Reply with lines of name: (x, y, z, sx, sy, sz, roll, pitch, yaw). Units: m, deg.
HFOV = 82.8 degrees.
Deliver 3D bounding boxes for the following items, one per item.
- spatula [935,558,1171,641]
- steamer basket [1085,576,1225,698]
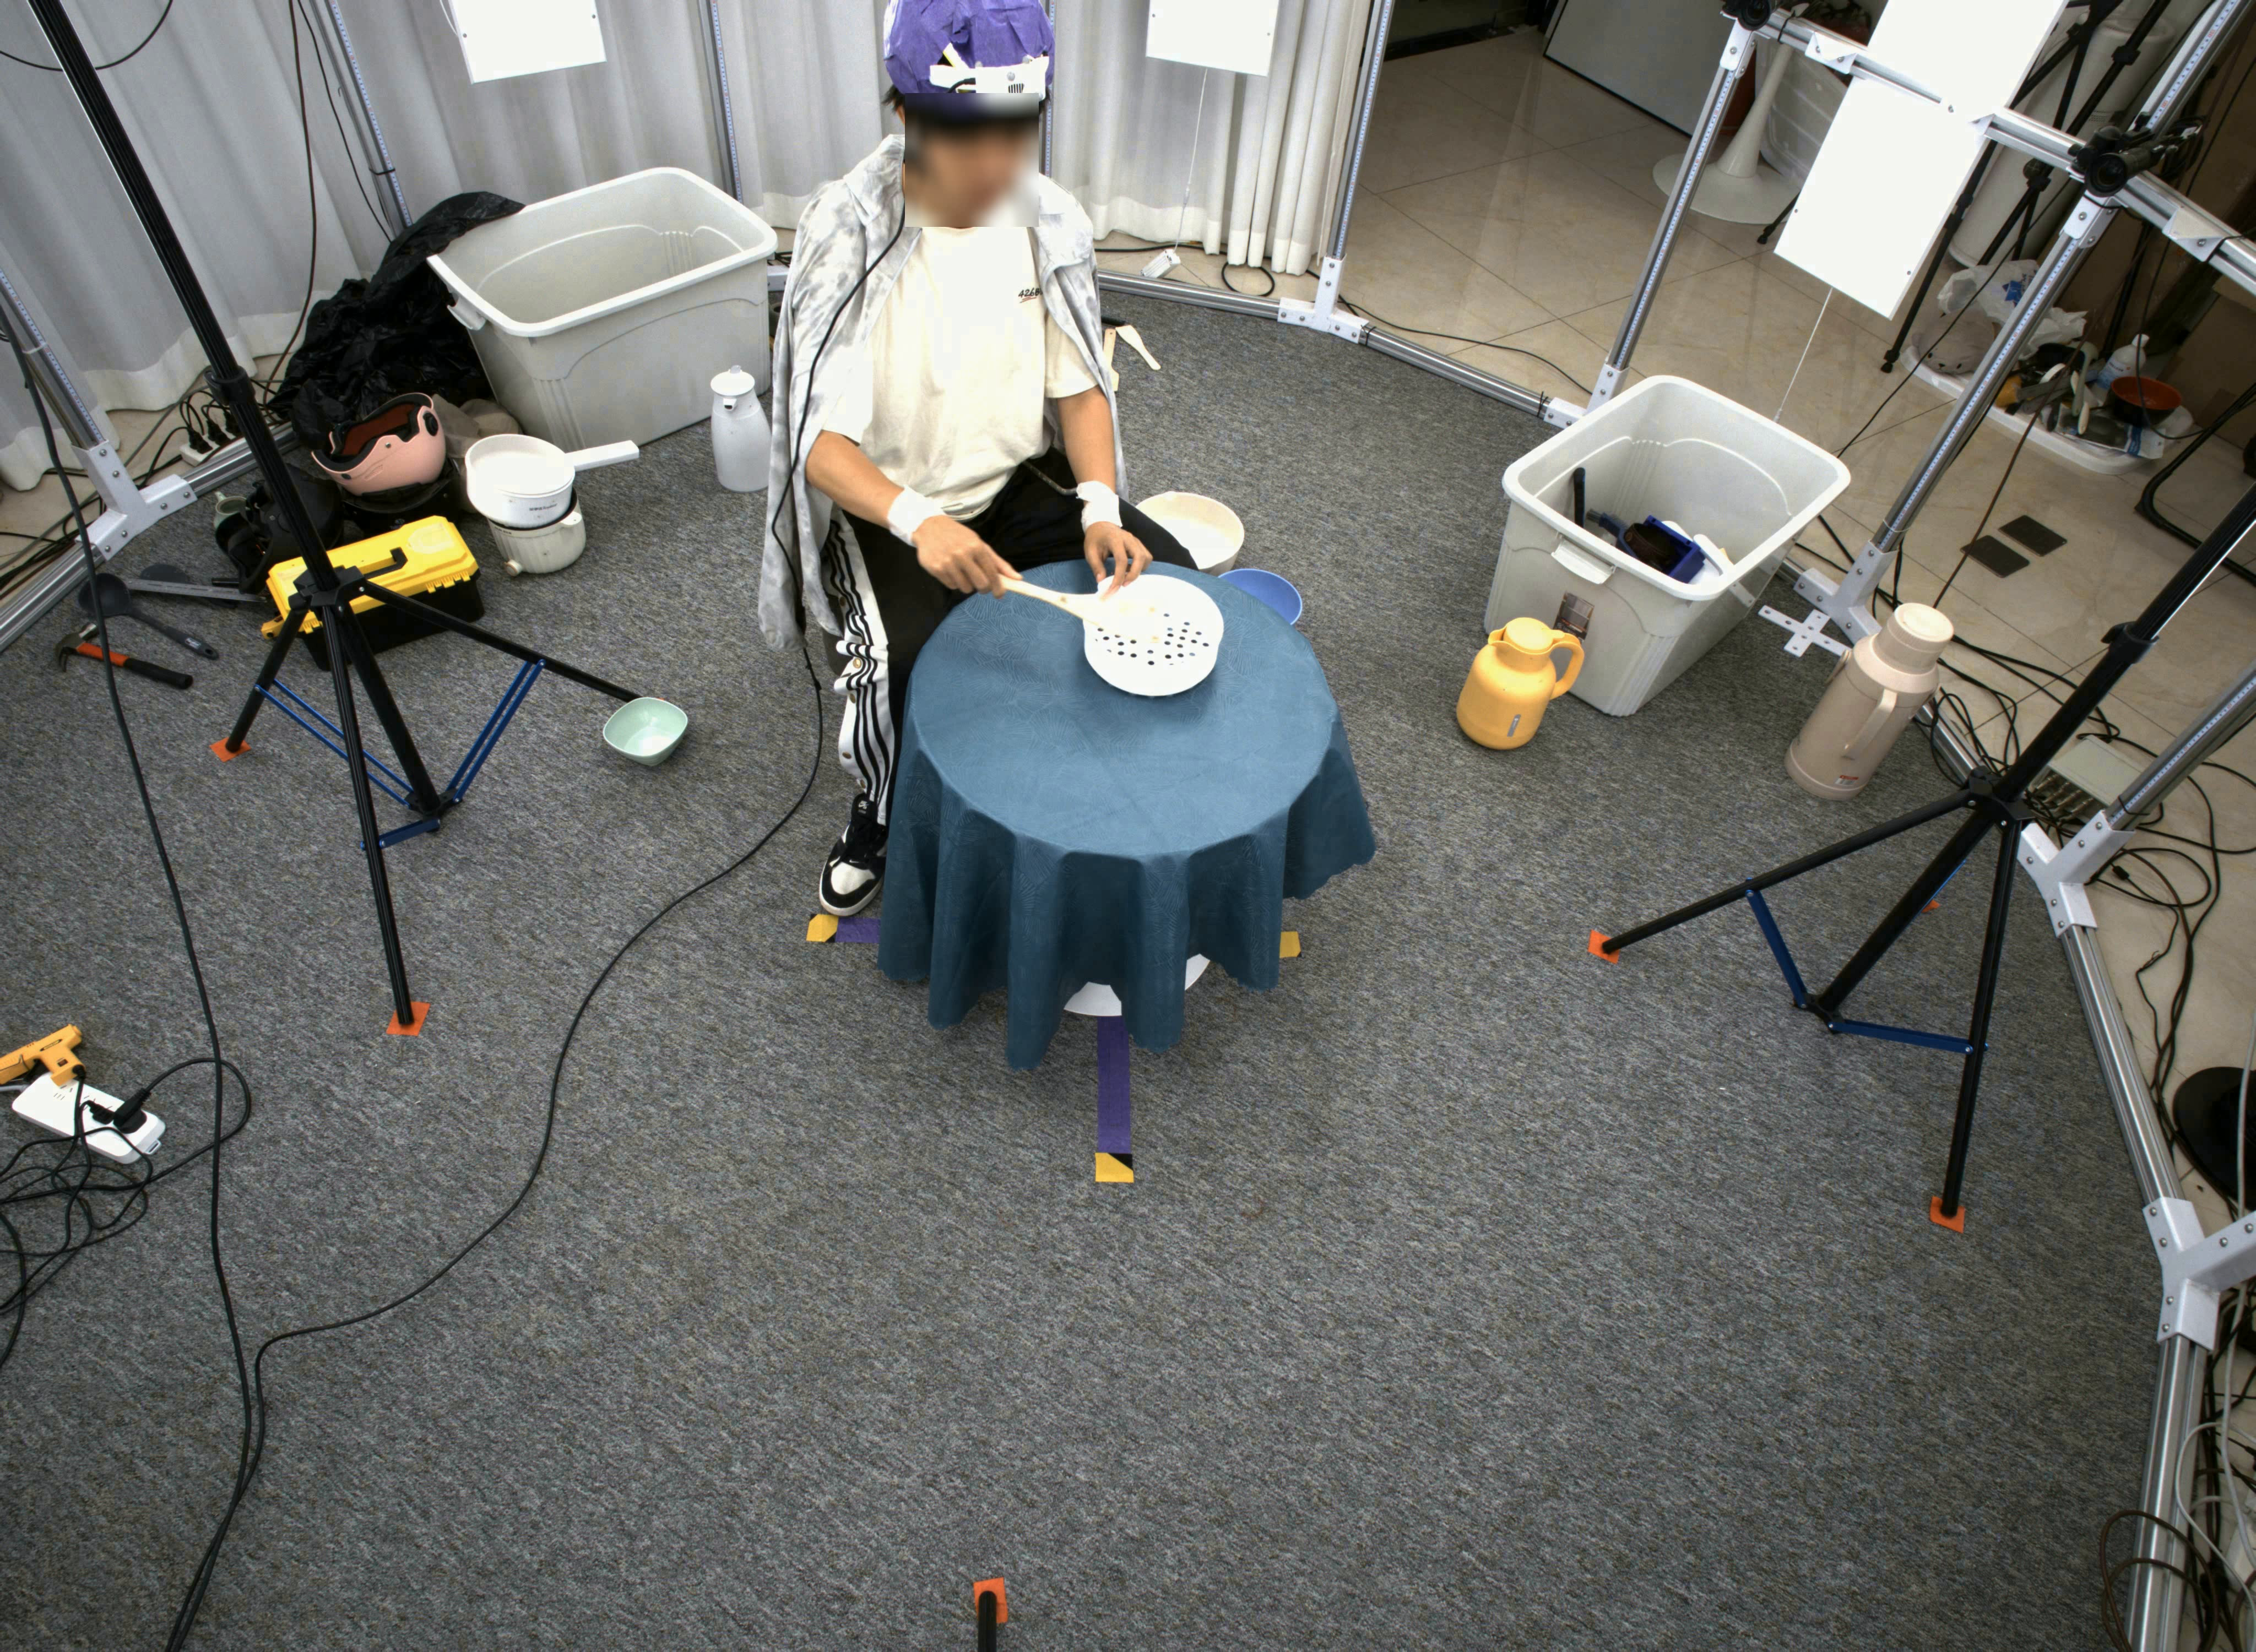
spatula: (-0.097, -0.314, 1.733, 0.326, 0.016, 0.082, 13, 54, -11)
steamer basket: (0.037, -0.271, 1.857, 0.202, 0.067, 0.235, -21, 52, -22)
